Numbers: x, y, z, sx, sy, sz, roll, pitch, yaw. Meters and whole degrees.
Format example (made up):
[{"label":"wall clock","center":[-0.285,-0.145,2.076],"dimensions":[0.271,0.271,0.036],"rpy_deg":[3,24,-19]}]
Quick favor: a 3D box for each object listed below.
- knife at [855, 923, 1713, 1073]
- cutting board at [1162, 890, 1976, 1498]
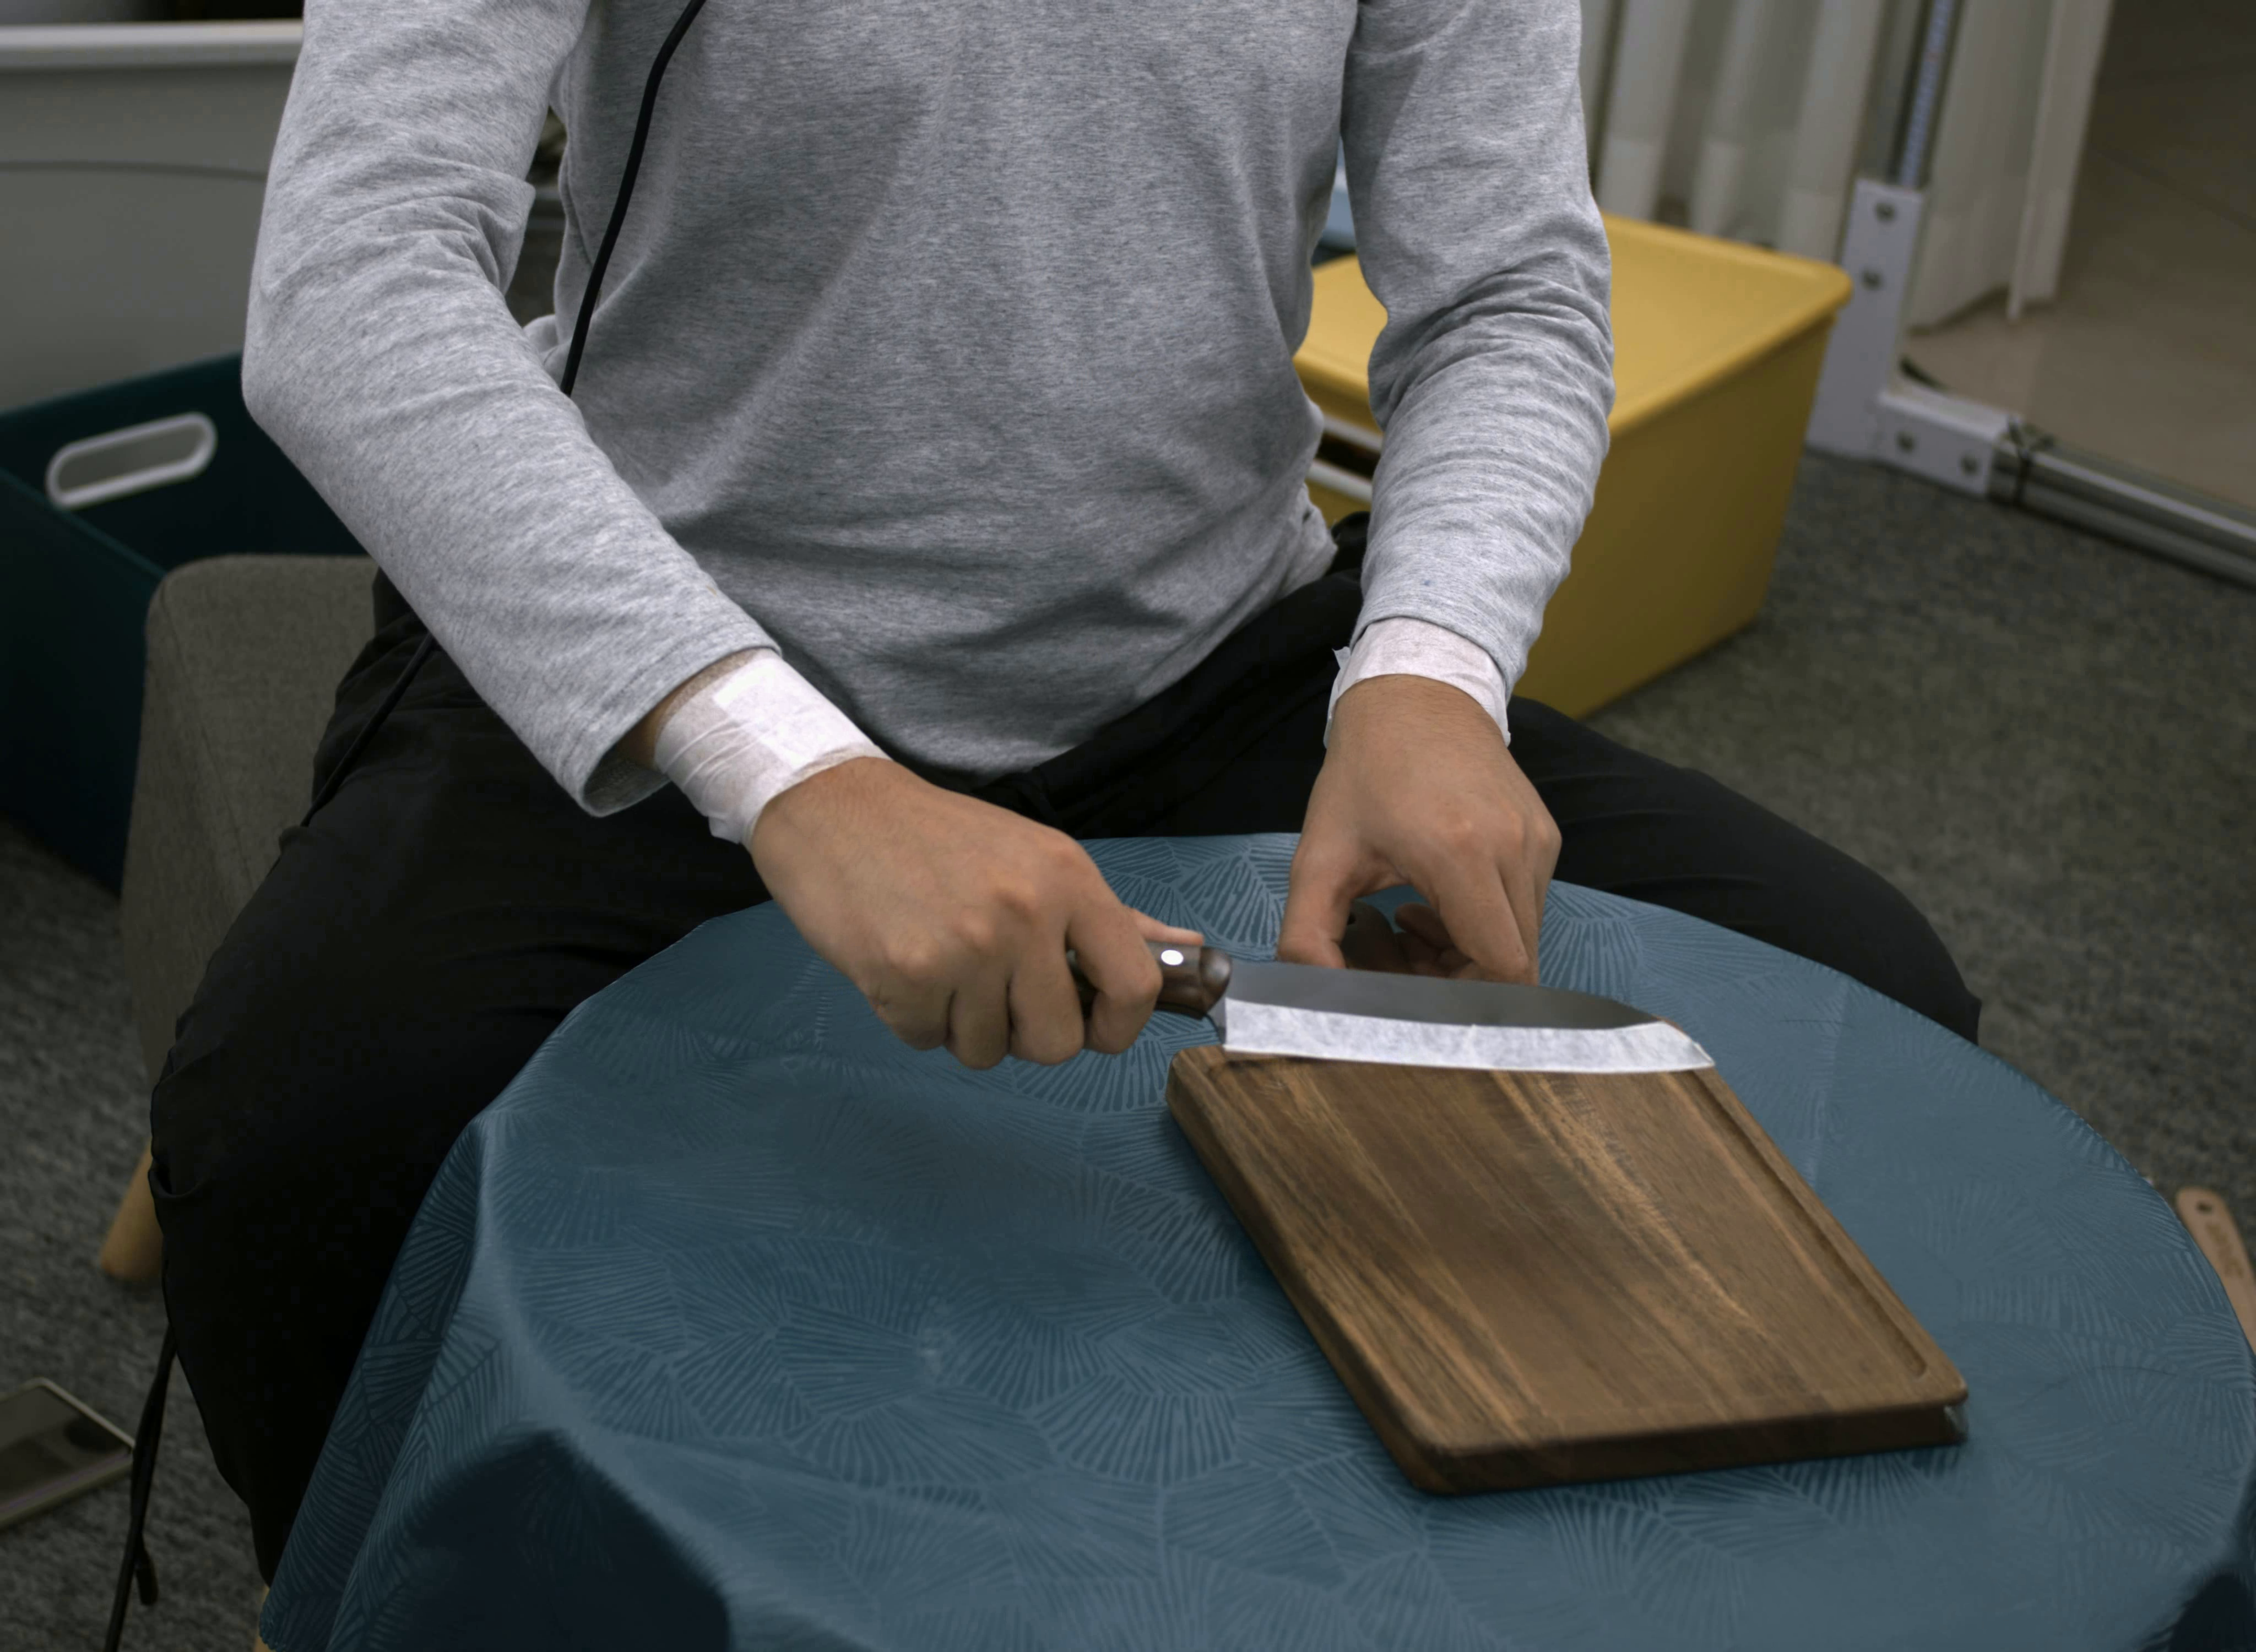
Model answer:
[{"label":"knife","center":[0.052,0.059,1.765],"dimensions":[0.288,0.020,0.050],"rpy_deg":[7,42,-4]},{"label":"cutting board","center":[0.127,0.115,1.826],"dimensions":[0.200,0.023,0.355],"rpy_deg":[-3,29,-19]}]
